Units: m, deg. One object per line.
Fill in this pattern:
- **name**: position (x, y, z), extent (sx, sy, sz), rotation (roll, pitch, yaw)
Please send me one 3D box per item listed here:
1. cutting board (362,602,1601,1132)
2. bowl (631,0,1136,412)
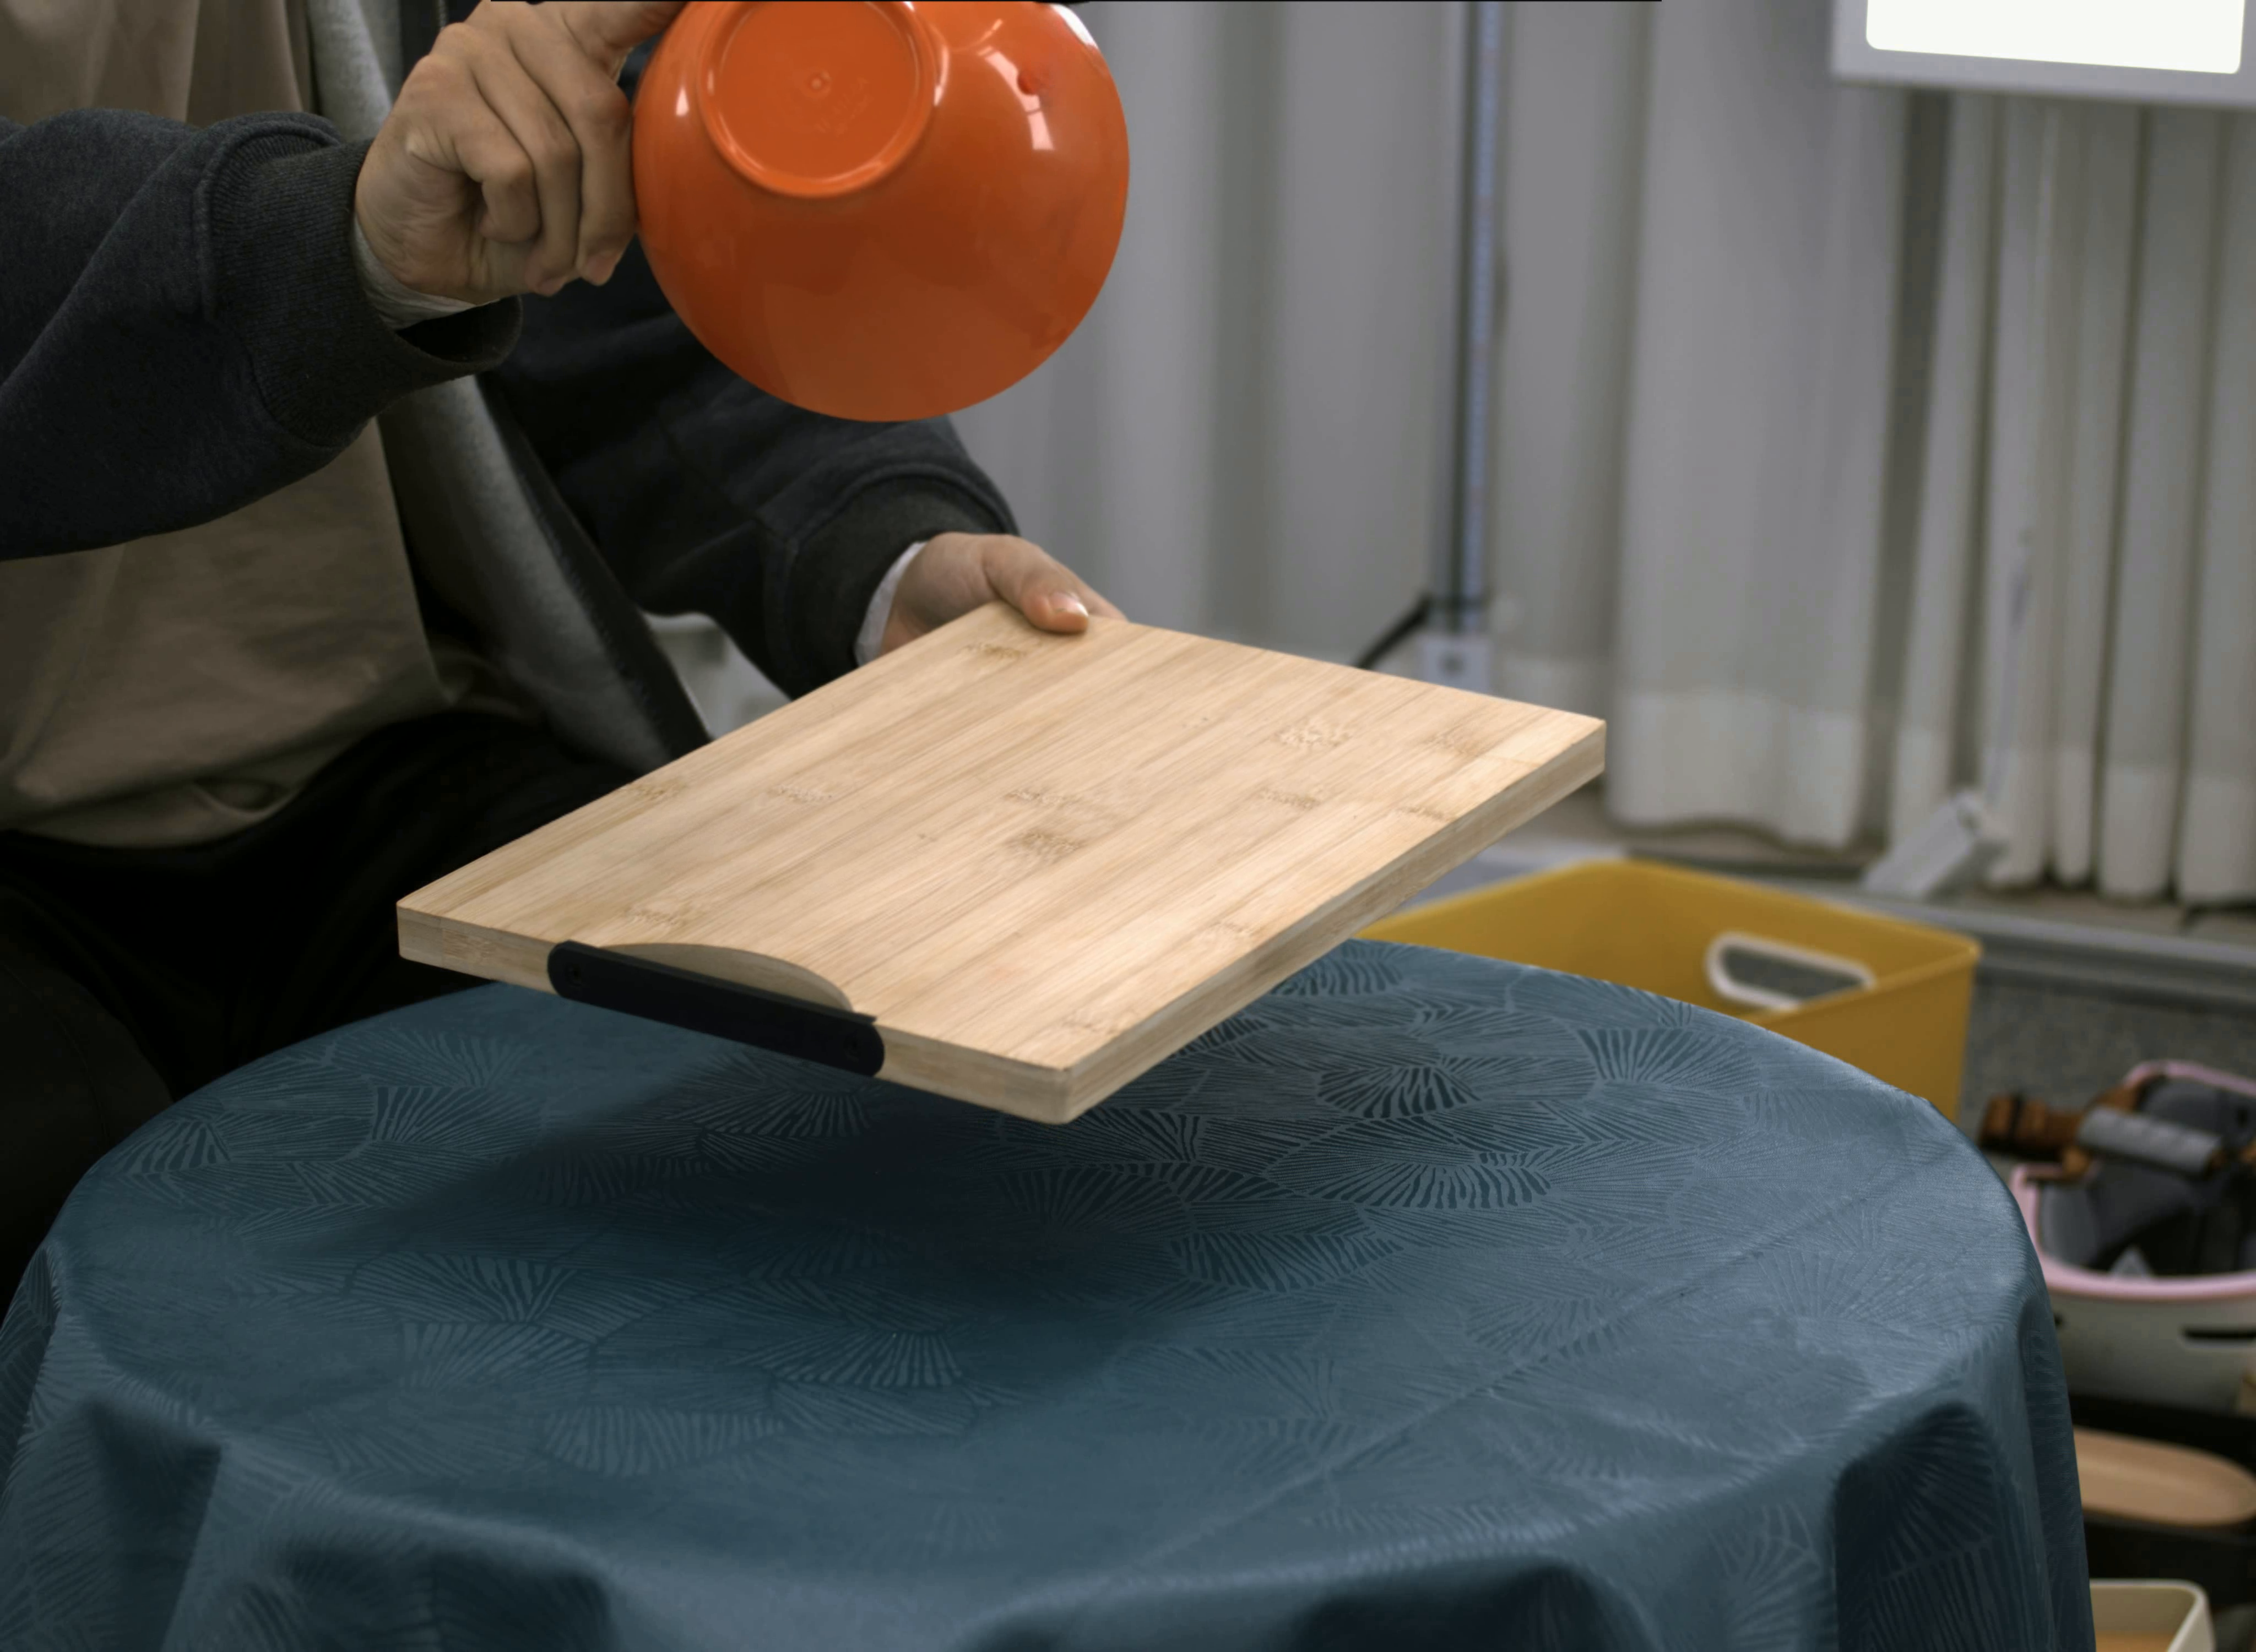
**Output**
- **cutting board**: position (-0.035, 0.005, 1.653), extent (0.248, 0.024, 0.349), rotation (12, 24, 28)
- **bowl**: position (-0.075, -0.199, 1.502), extent (0.147, 0.148, 0.105), rotation (2, -3, 4)
